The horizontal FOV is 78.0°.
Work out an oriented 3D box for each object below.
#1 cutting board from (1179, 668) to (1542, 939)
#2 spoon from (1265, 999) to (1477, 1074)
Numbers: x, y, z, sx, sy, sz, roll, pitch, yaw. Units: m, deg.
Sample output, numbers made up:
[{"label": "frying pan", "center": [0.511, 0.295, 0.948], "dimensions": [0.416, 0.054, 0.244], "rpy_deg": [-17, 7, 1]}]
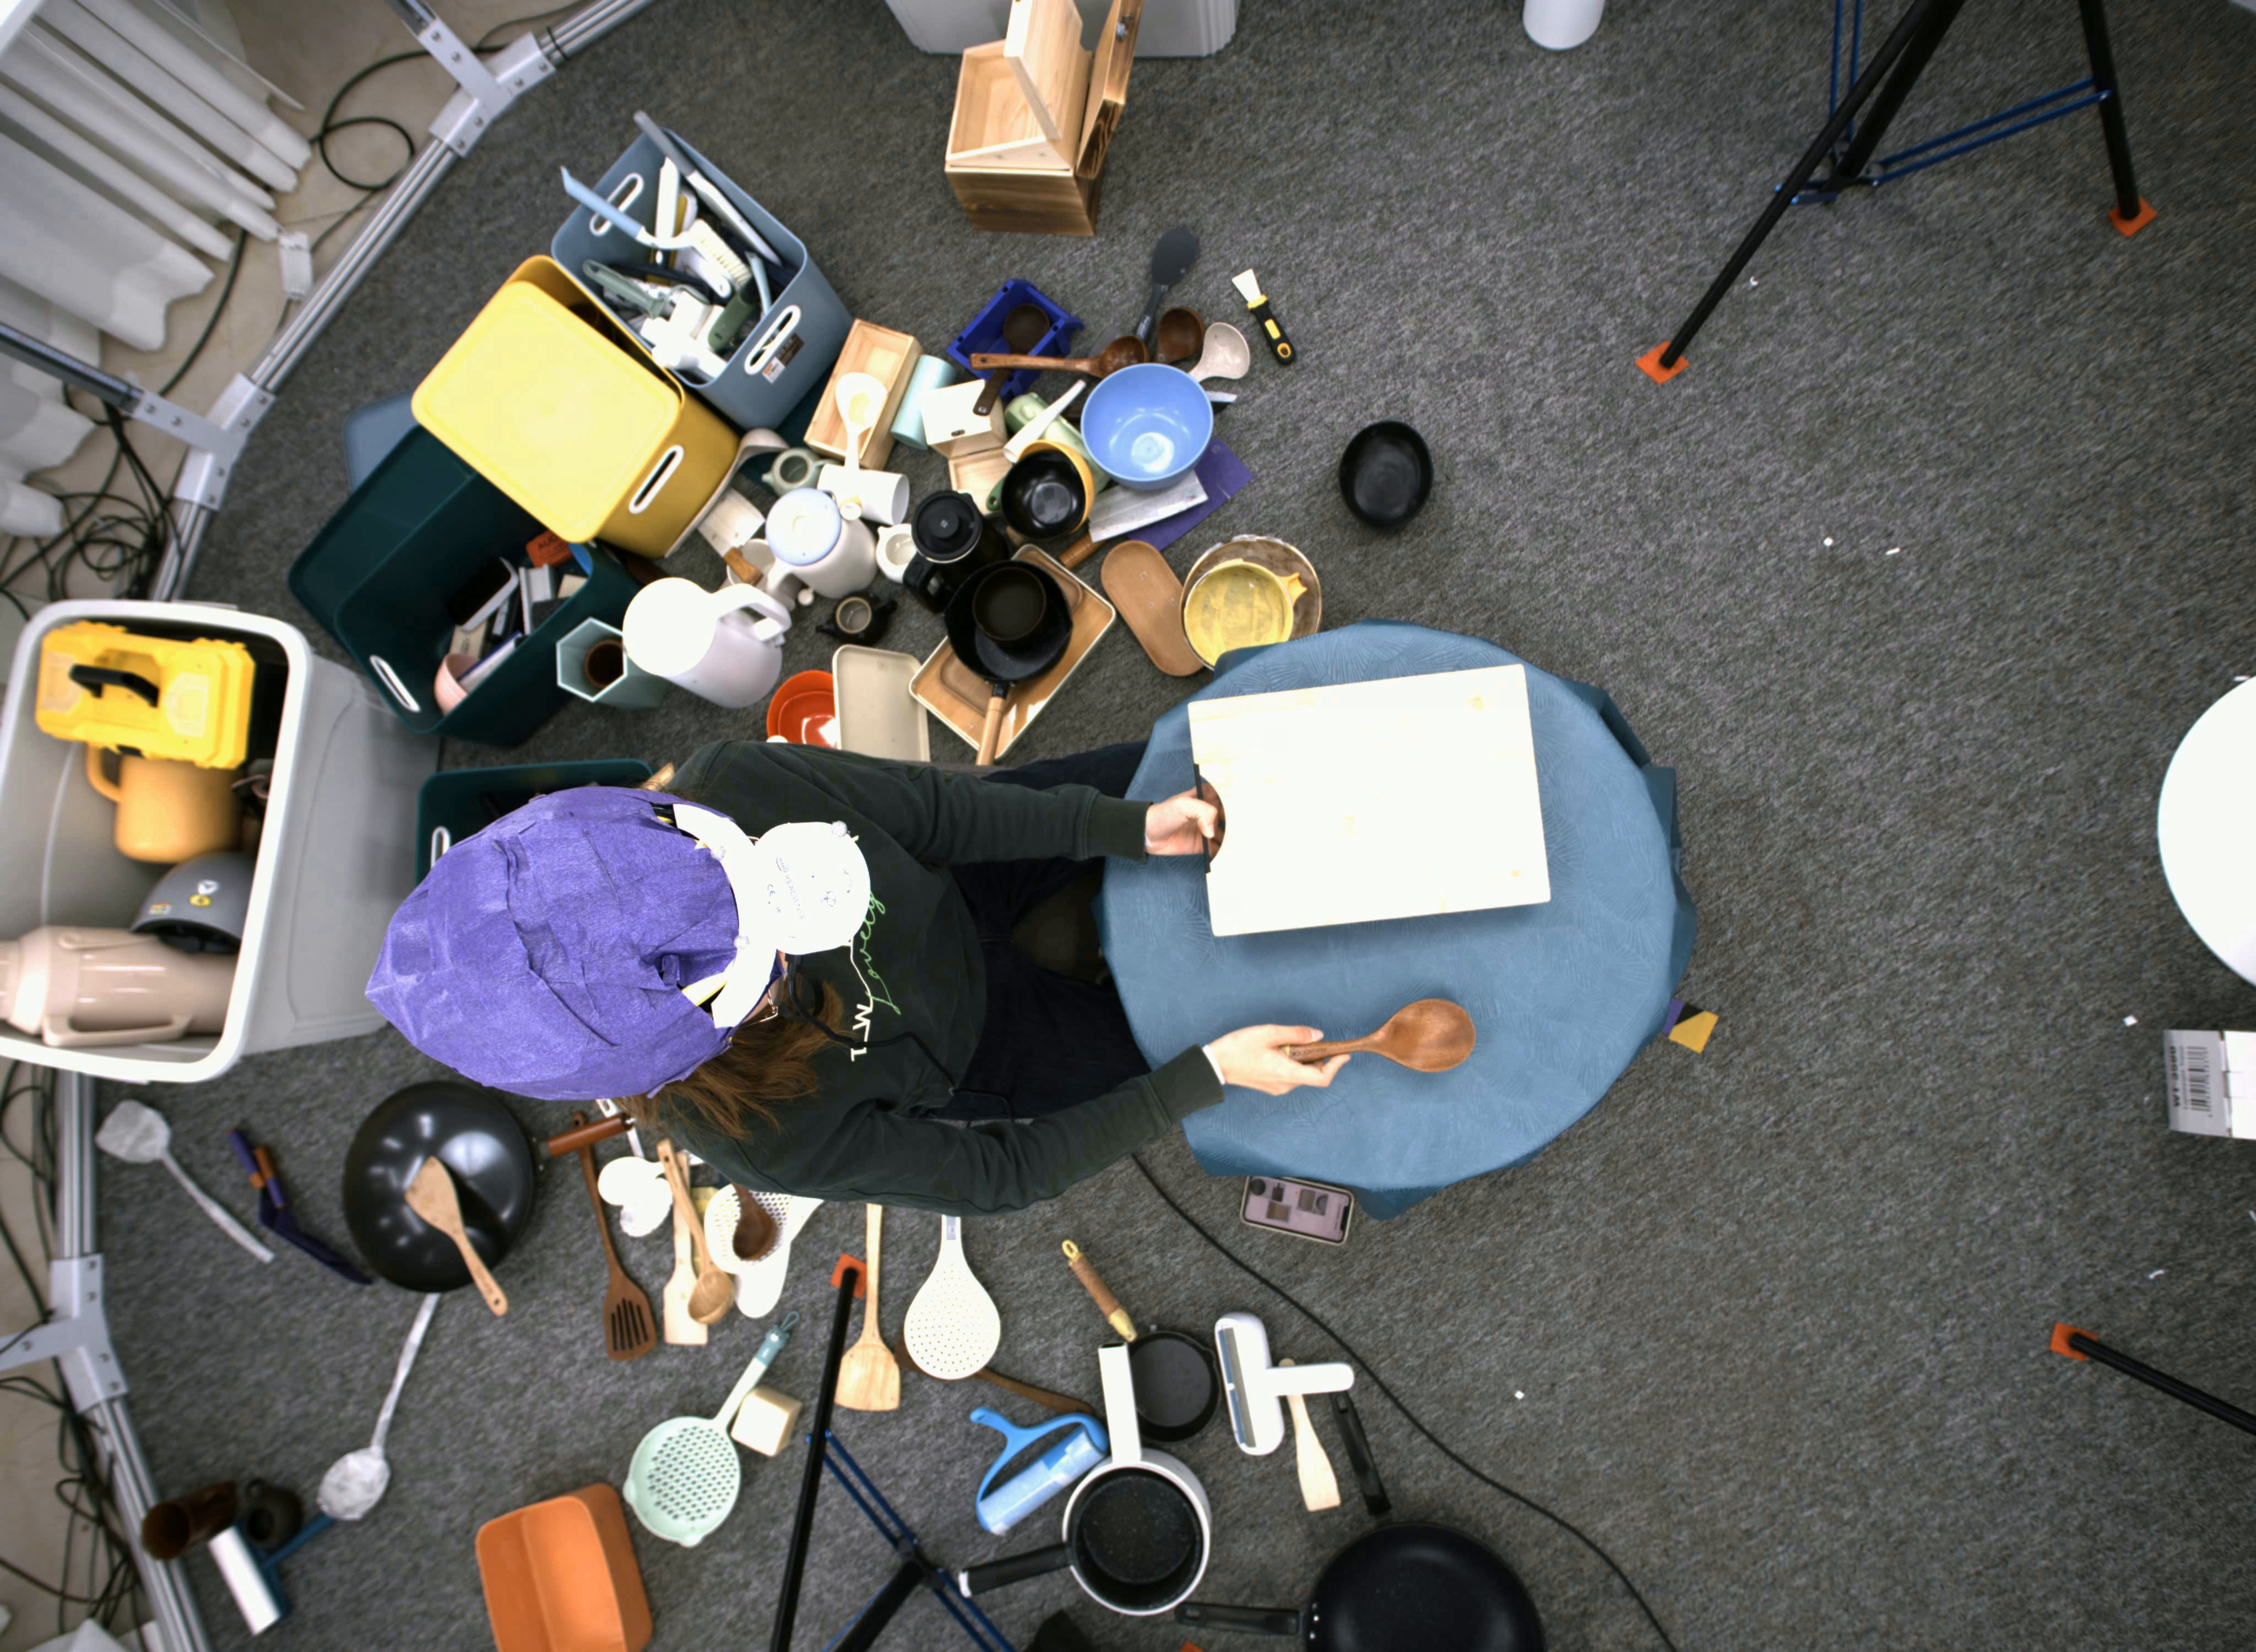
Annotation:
[{"label": "cutting board", "center": [0.238, -0.024, 1.399], "dimensions": [0.350, 0.023, 0.250], "rpy_deg": [-7, 89, 5]}, {"label": "spoon", "center": [0.245, 0.220, 1.394], "dimensions": [0.216, 0.017, 0.075], "rpy_deg": [-8, 83, -1]}]
